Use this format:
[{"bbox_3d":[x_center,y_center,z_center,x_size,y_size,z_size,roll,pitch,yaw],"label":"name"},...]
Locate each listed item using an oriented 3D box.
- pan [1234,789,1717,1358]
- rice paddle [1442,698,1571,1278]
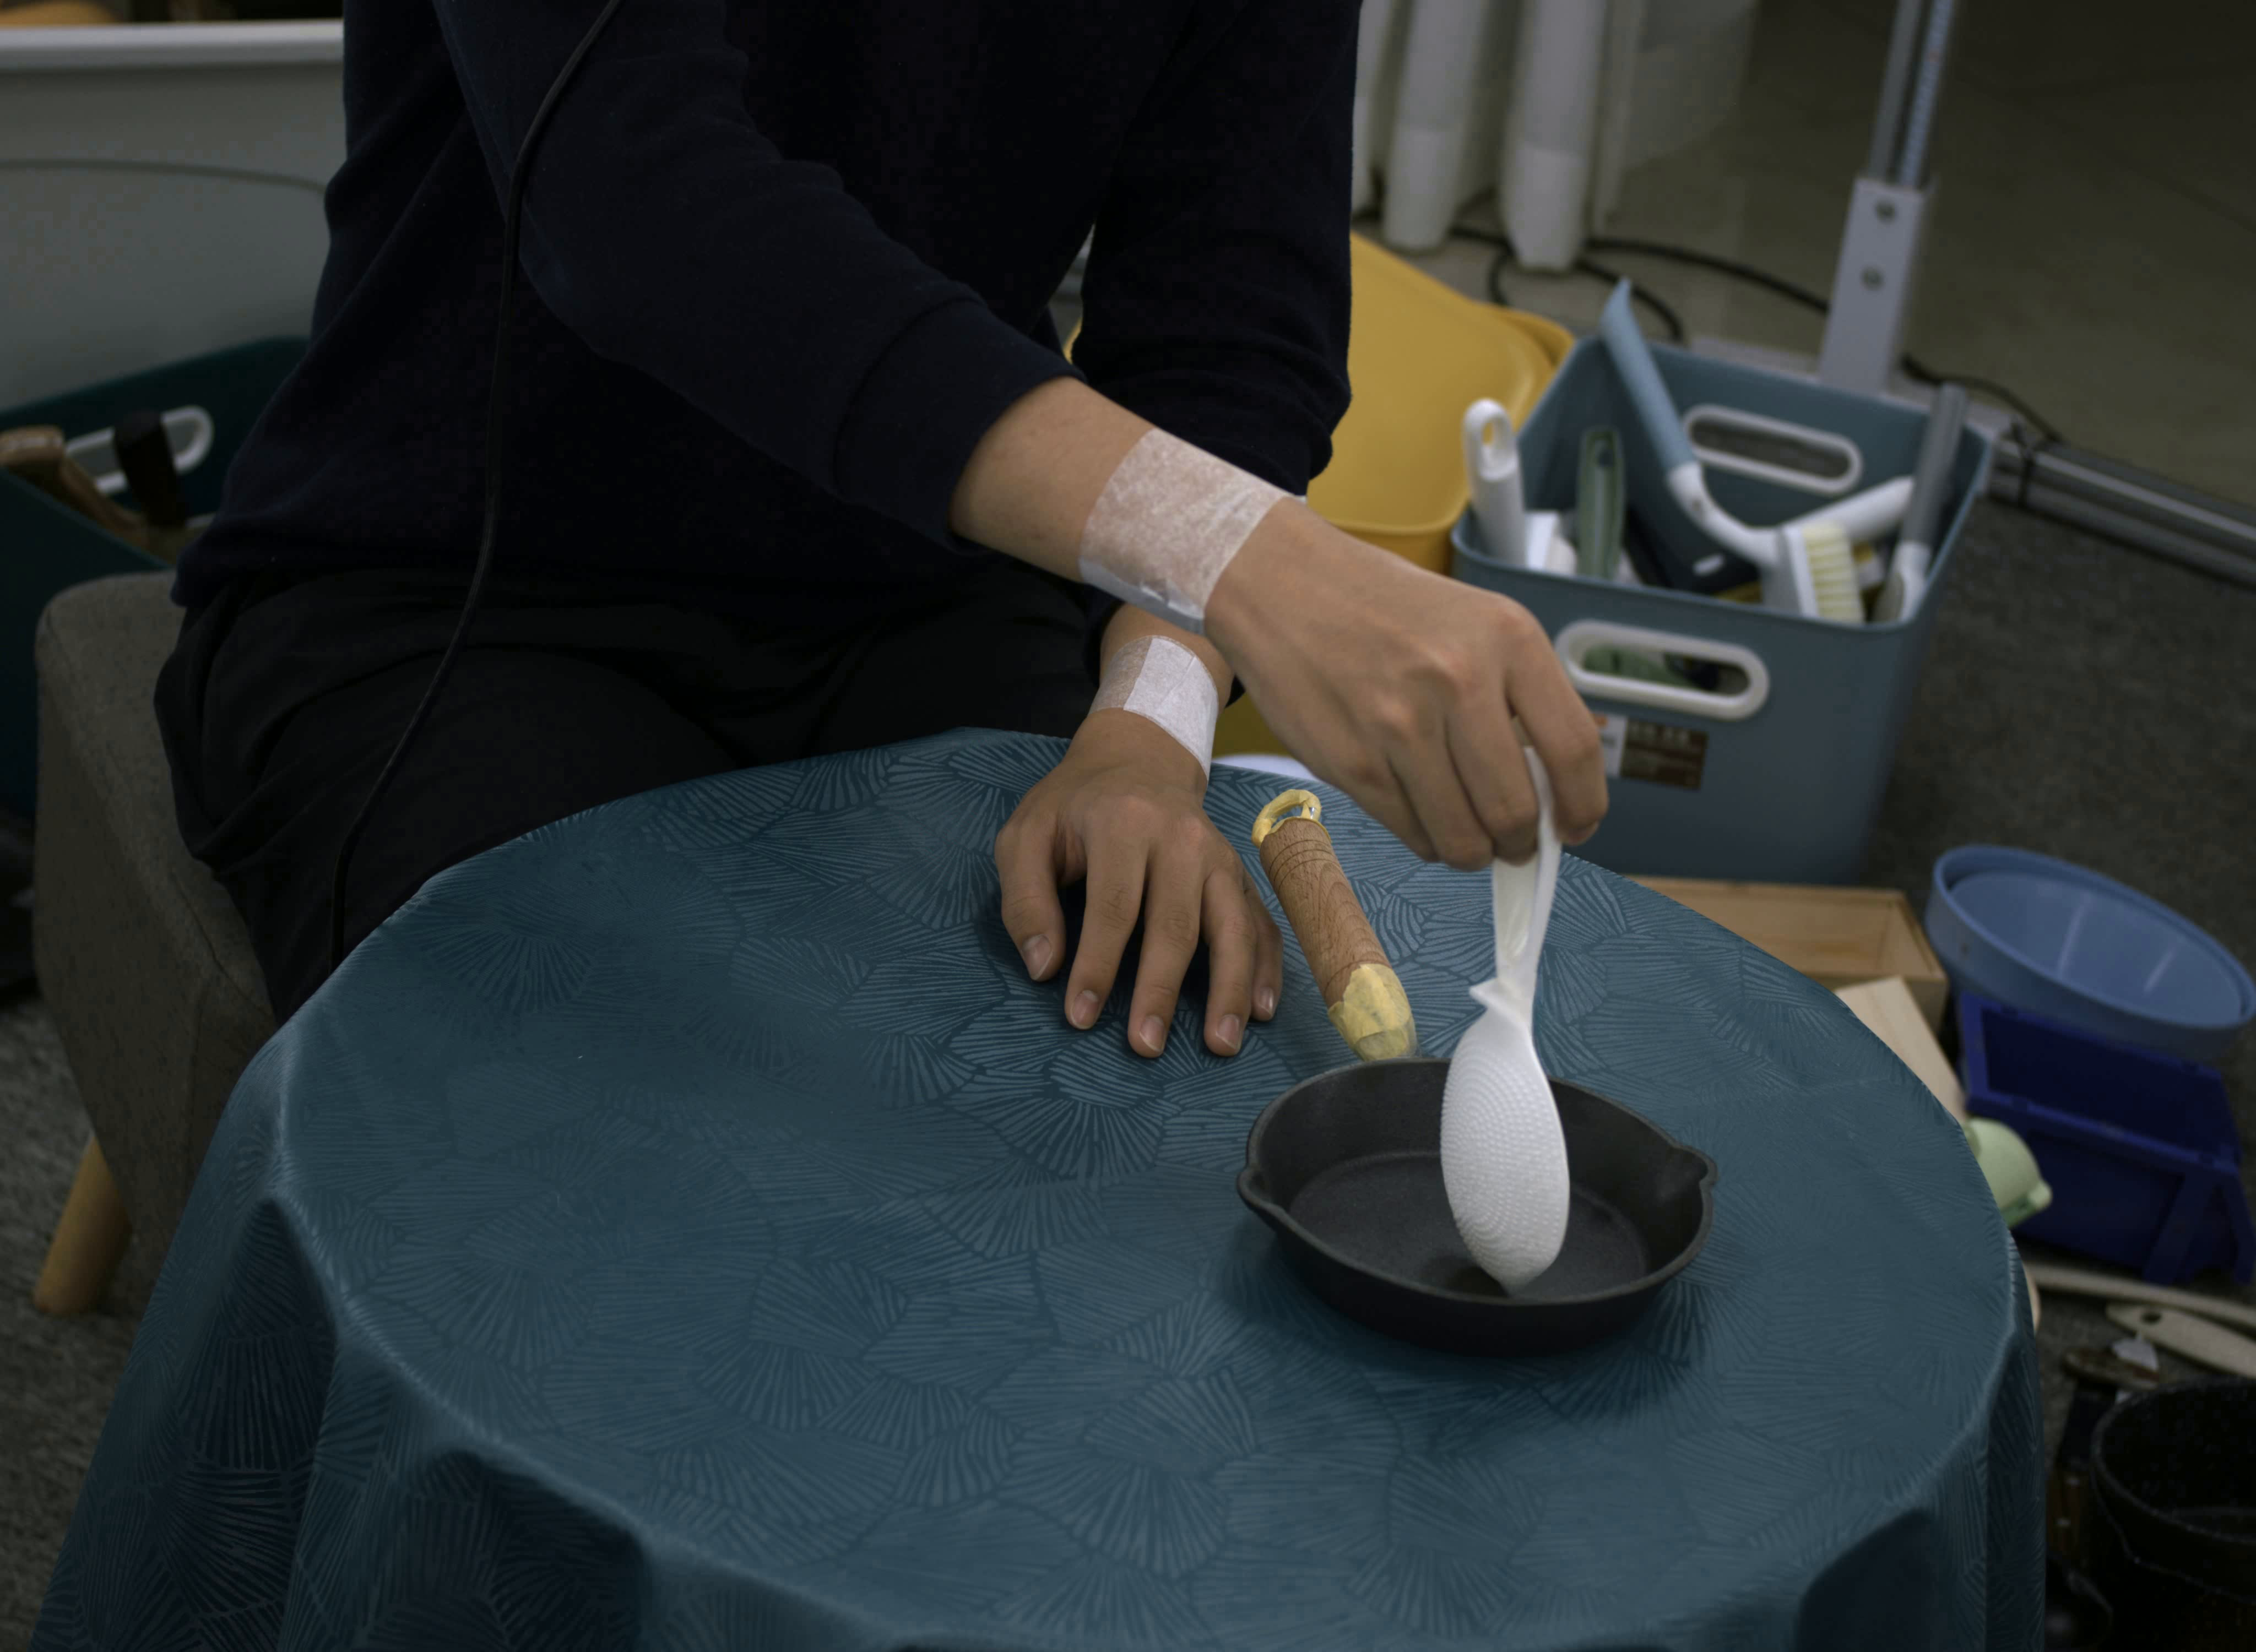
[{"bbox_3d":[0.096,0.083,1.848,0.168,0.049,0.327,-1,29,-14],"label":"pan"},{"bbox_3d":[0.124,0.056,1.729,0.029,0.204,0.069,-15,30,-28],"label":"rice paddle"}]
